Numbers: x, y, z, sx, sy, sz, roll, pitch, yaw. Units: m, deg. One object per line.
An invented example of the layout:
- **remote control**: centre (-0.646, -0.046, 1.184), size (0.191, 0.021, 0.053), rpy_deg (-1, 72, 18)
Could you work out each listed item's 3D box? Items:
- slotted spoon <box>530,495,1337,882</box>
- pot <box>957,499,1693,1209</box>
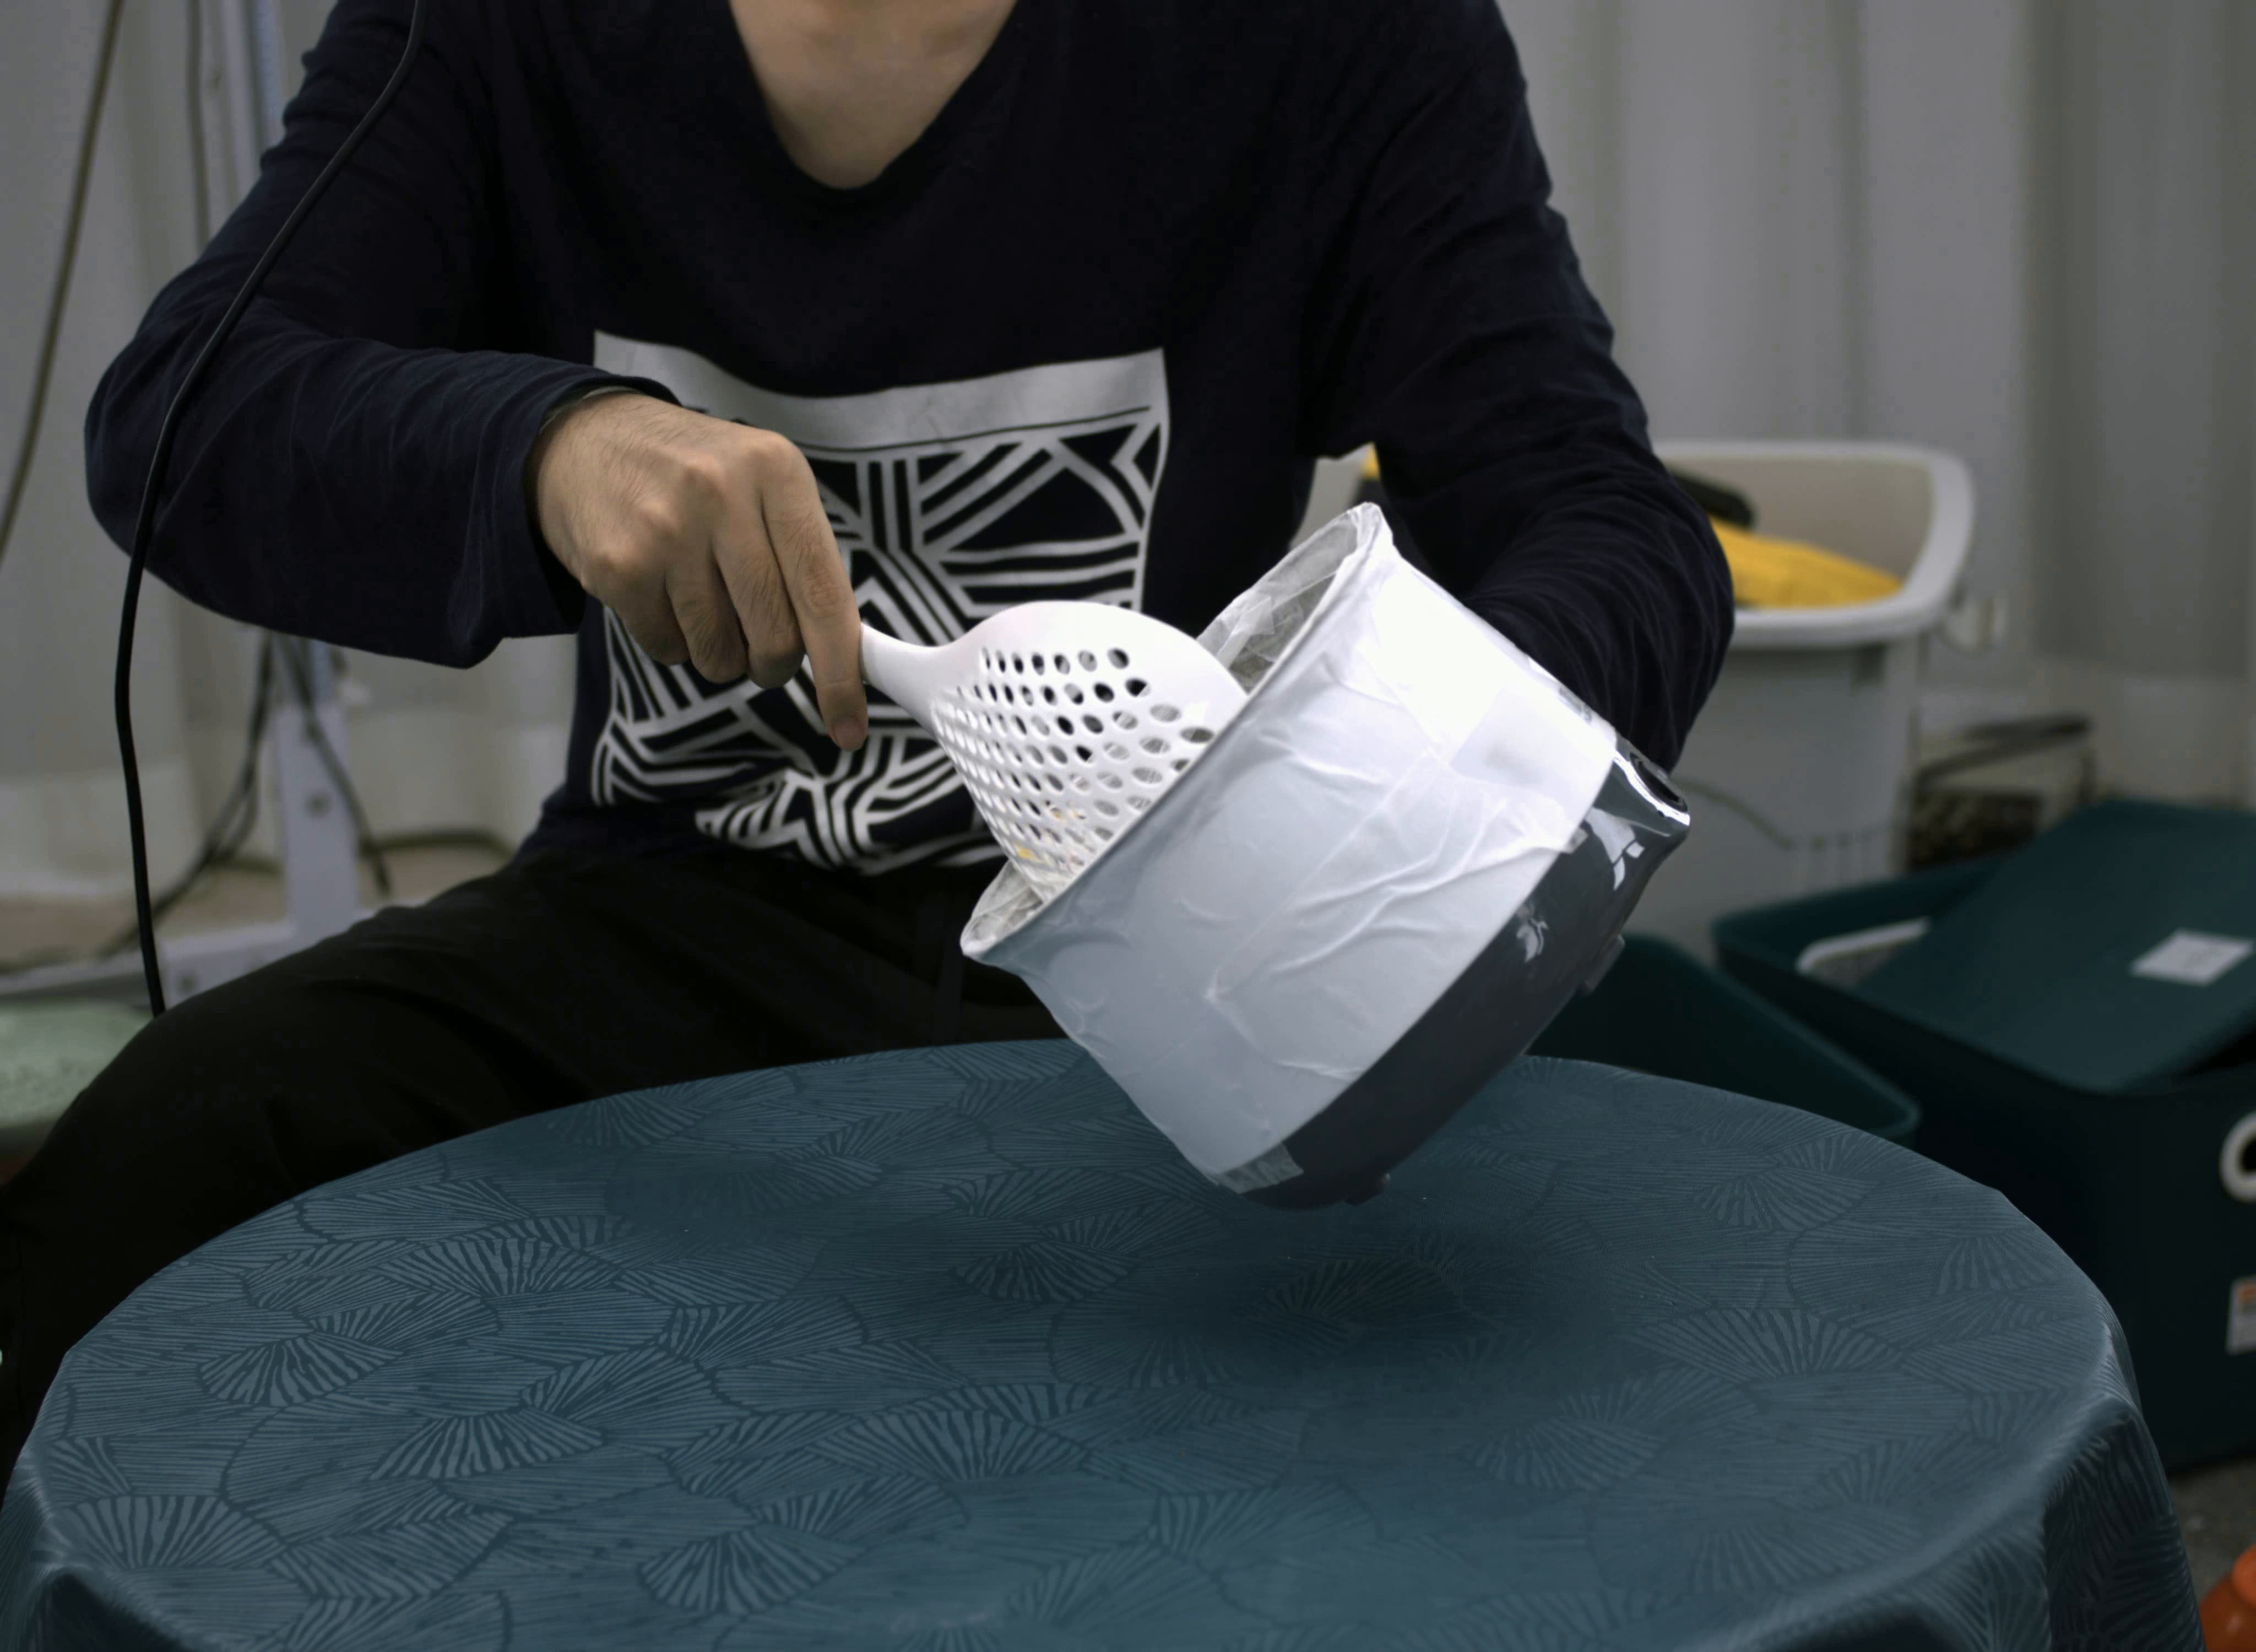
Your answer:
- **slotted spoon**: centre (-0.063, -0.040, 1.641), size (0.050, 0.135, 0.351), rpy_deg (-30, 38, -27)
- **pot**: centre (0.059, 0.005, 1.619), size (0.178, 0.136, 0.235), rpy_deg (-43, 9, 13)
